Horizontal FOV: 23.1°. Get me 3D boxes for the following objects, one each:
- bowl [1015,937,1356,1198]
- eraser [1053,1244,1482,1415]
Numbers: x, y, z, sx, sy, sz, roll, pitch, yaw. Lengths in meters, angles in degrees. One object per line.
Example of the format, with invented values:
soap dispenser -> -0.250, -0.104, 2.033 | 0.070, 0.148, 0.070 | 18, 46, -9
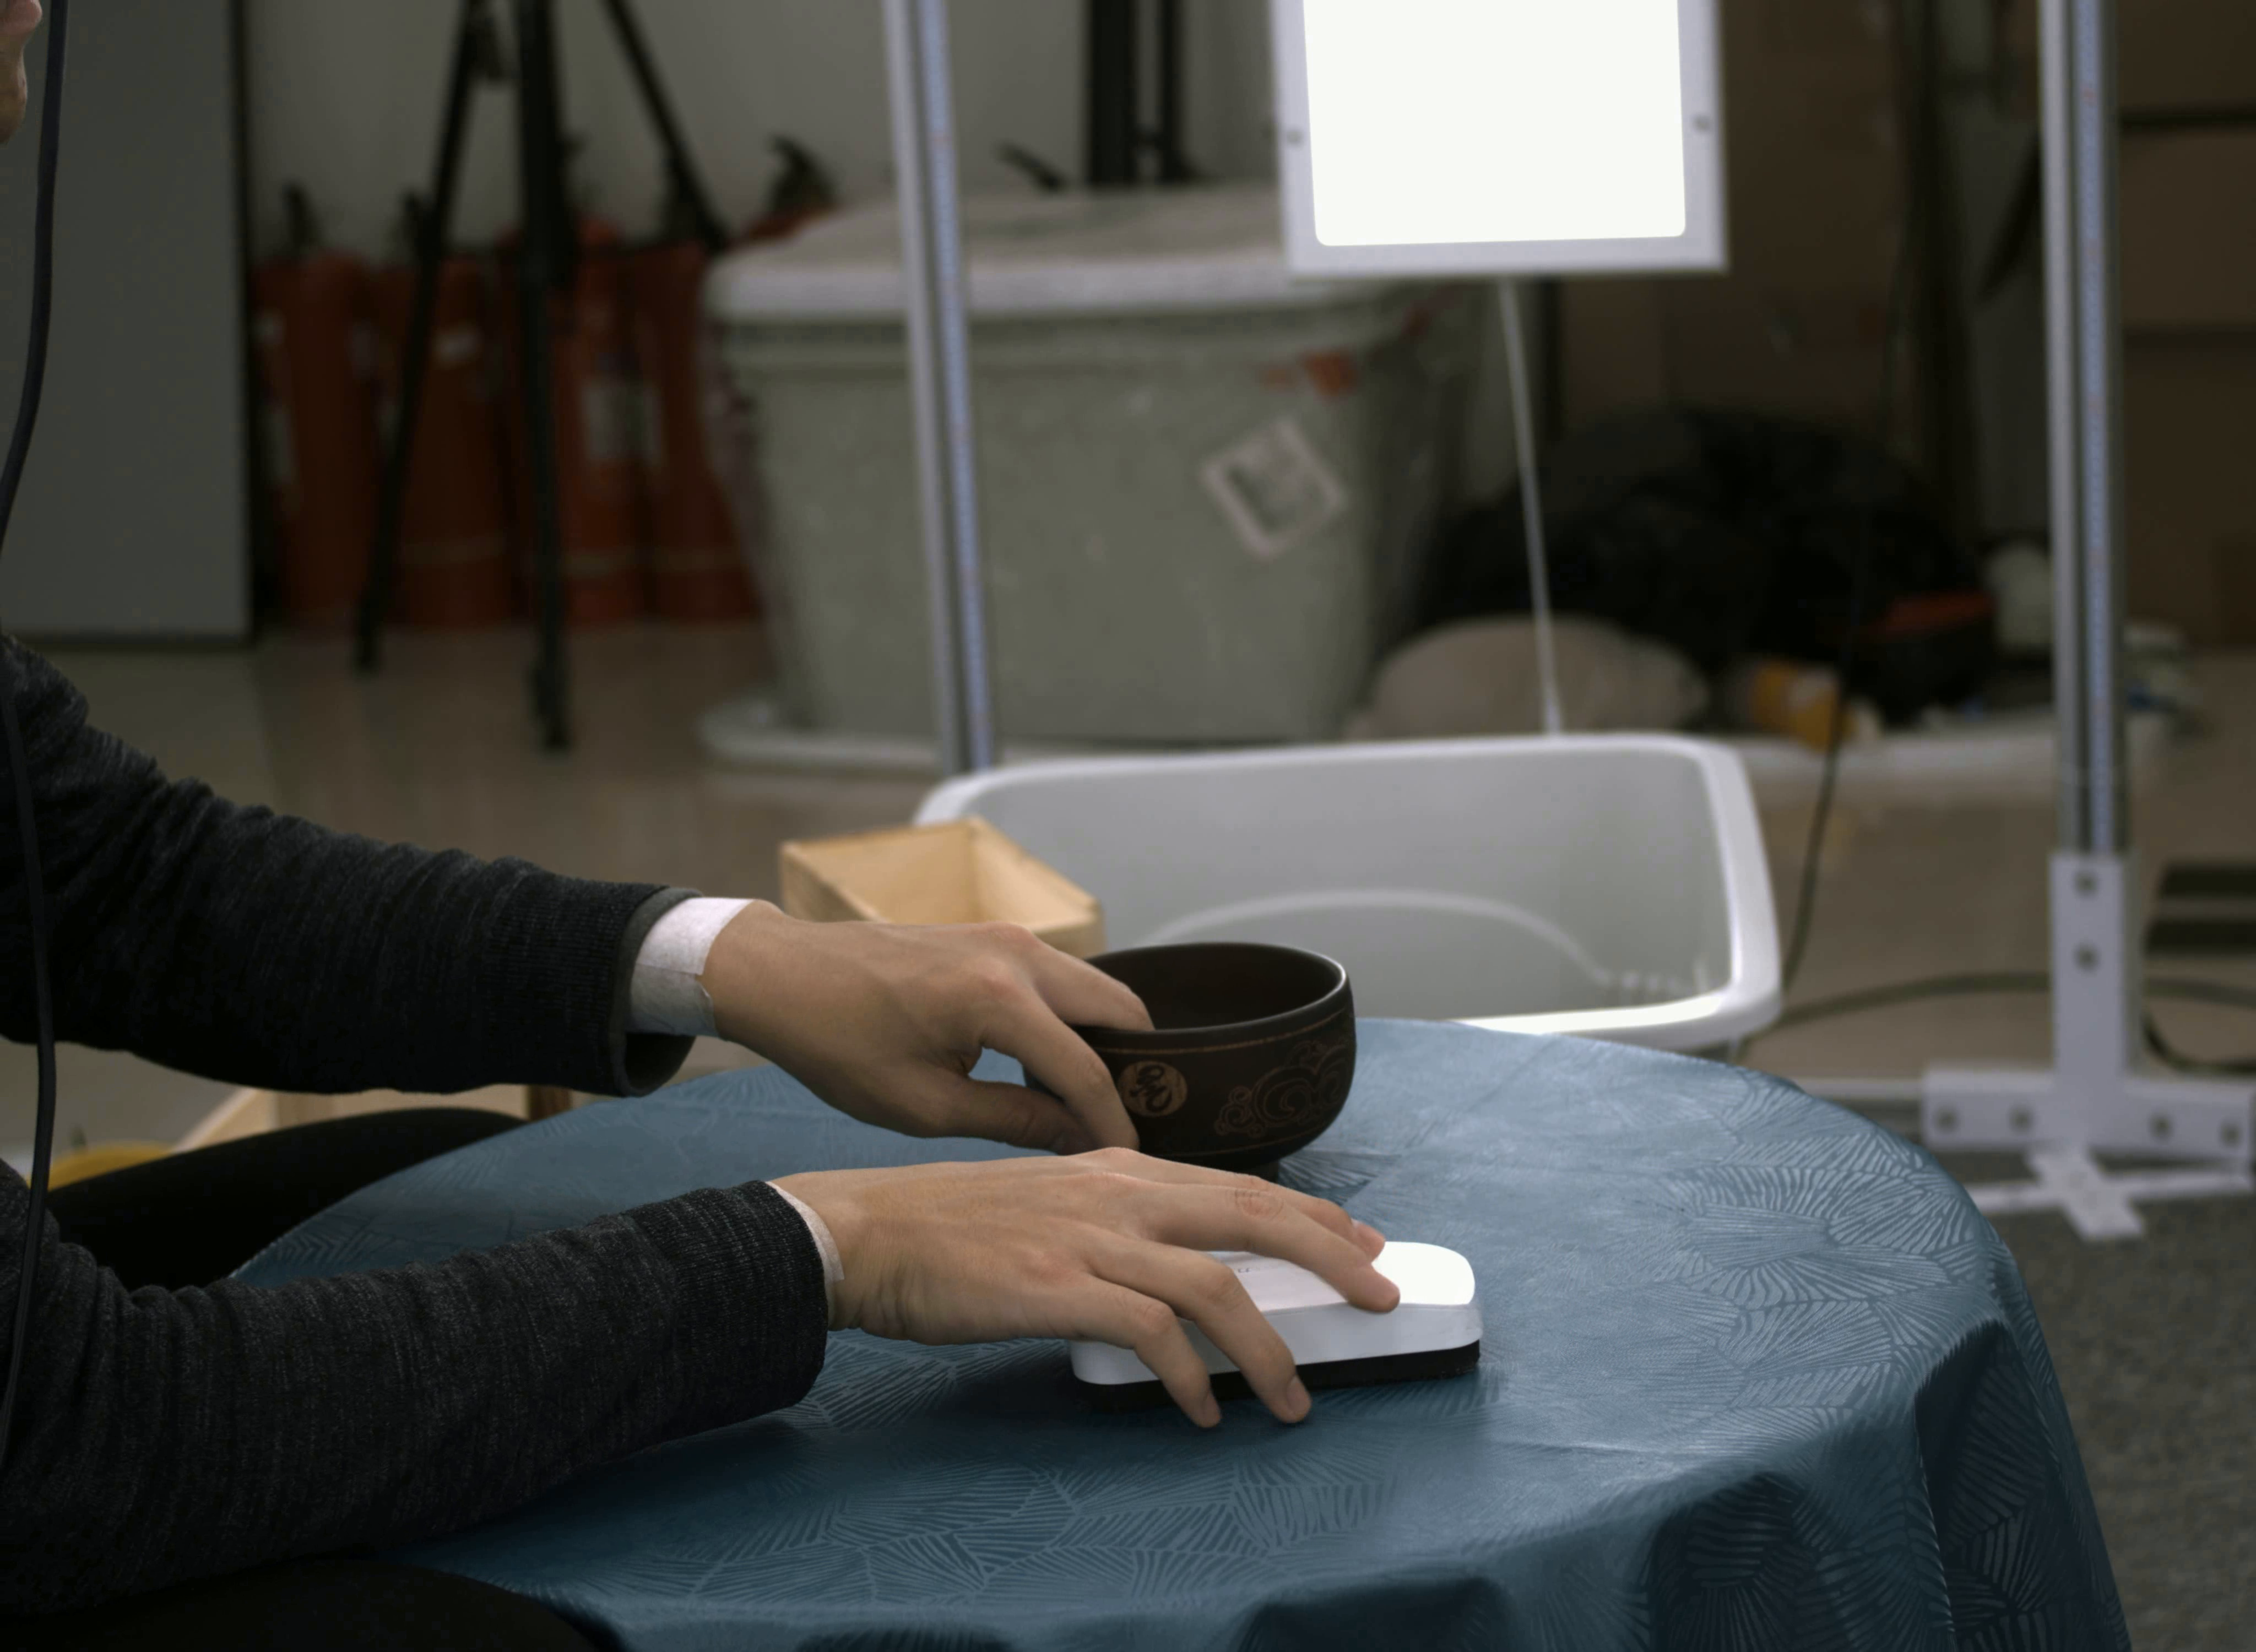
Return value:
bowl -> 0.021, 0.087, 1.901 | 0.118, 0.070, 0.118 | -6, 15, 0
eraser -> 0.043, 0.154, 1.708 | 0.130, 0.034, 0.063 | -6, 13, -3
